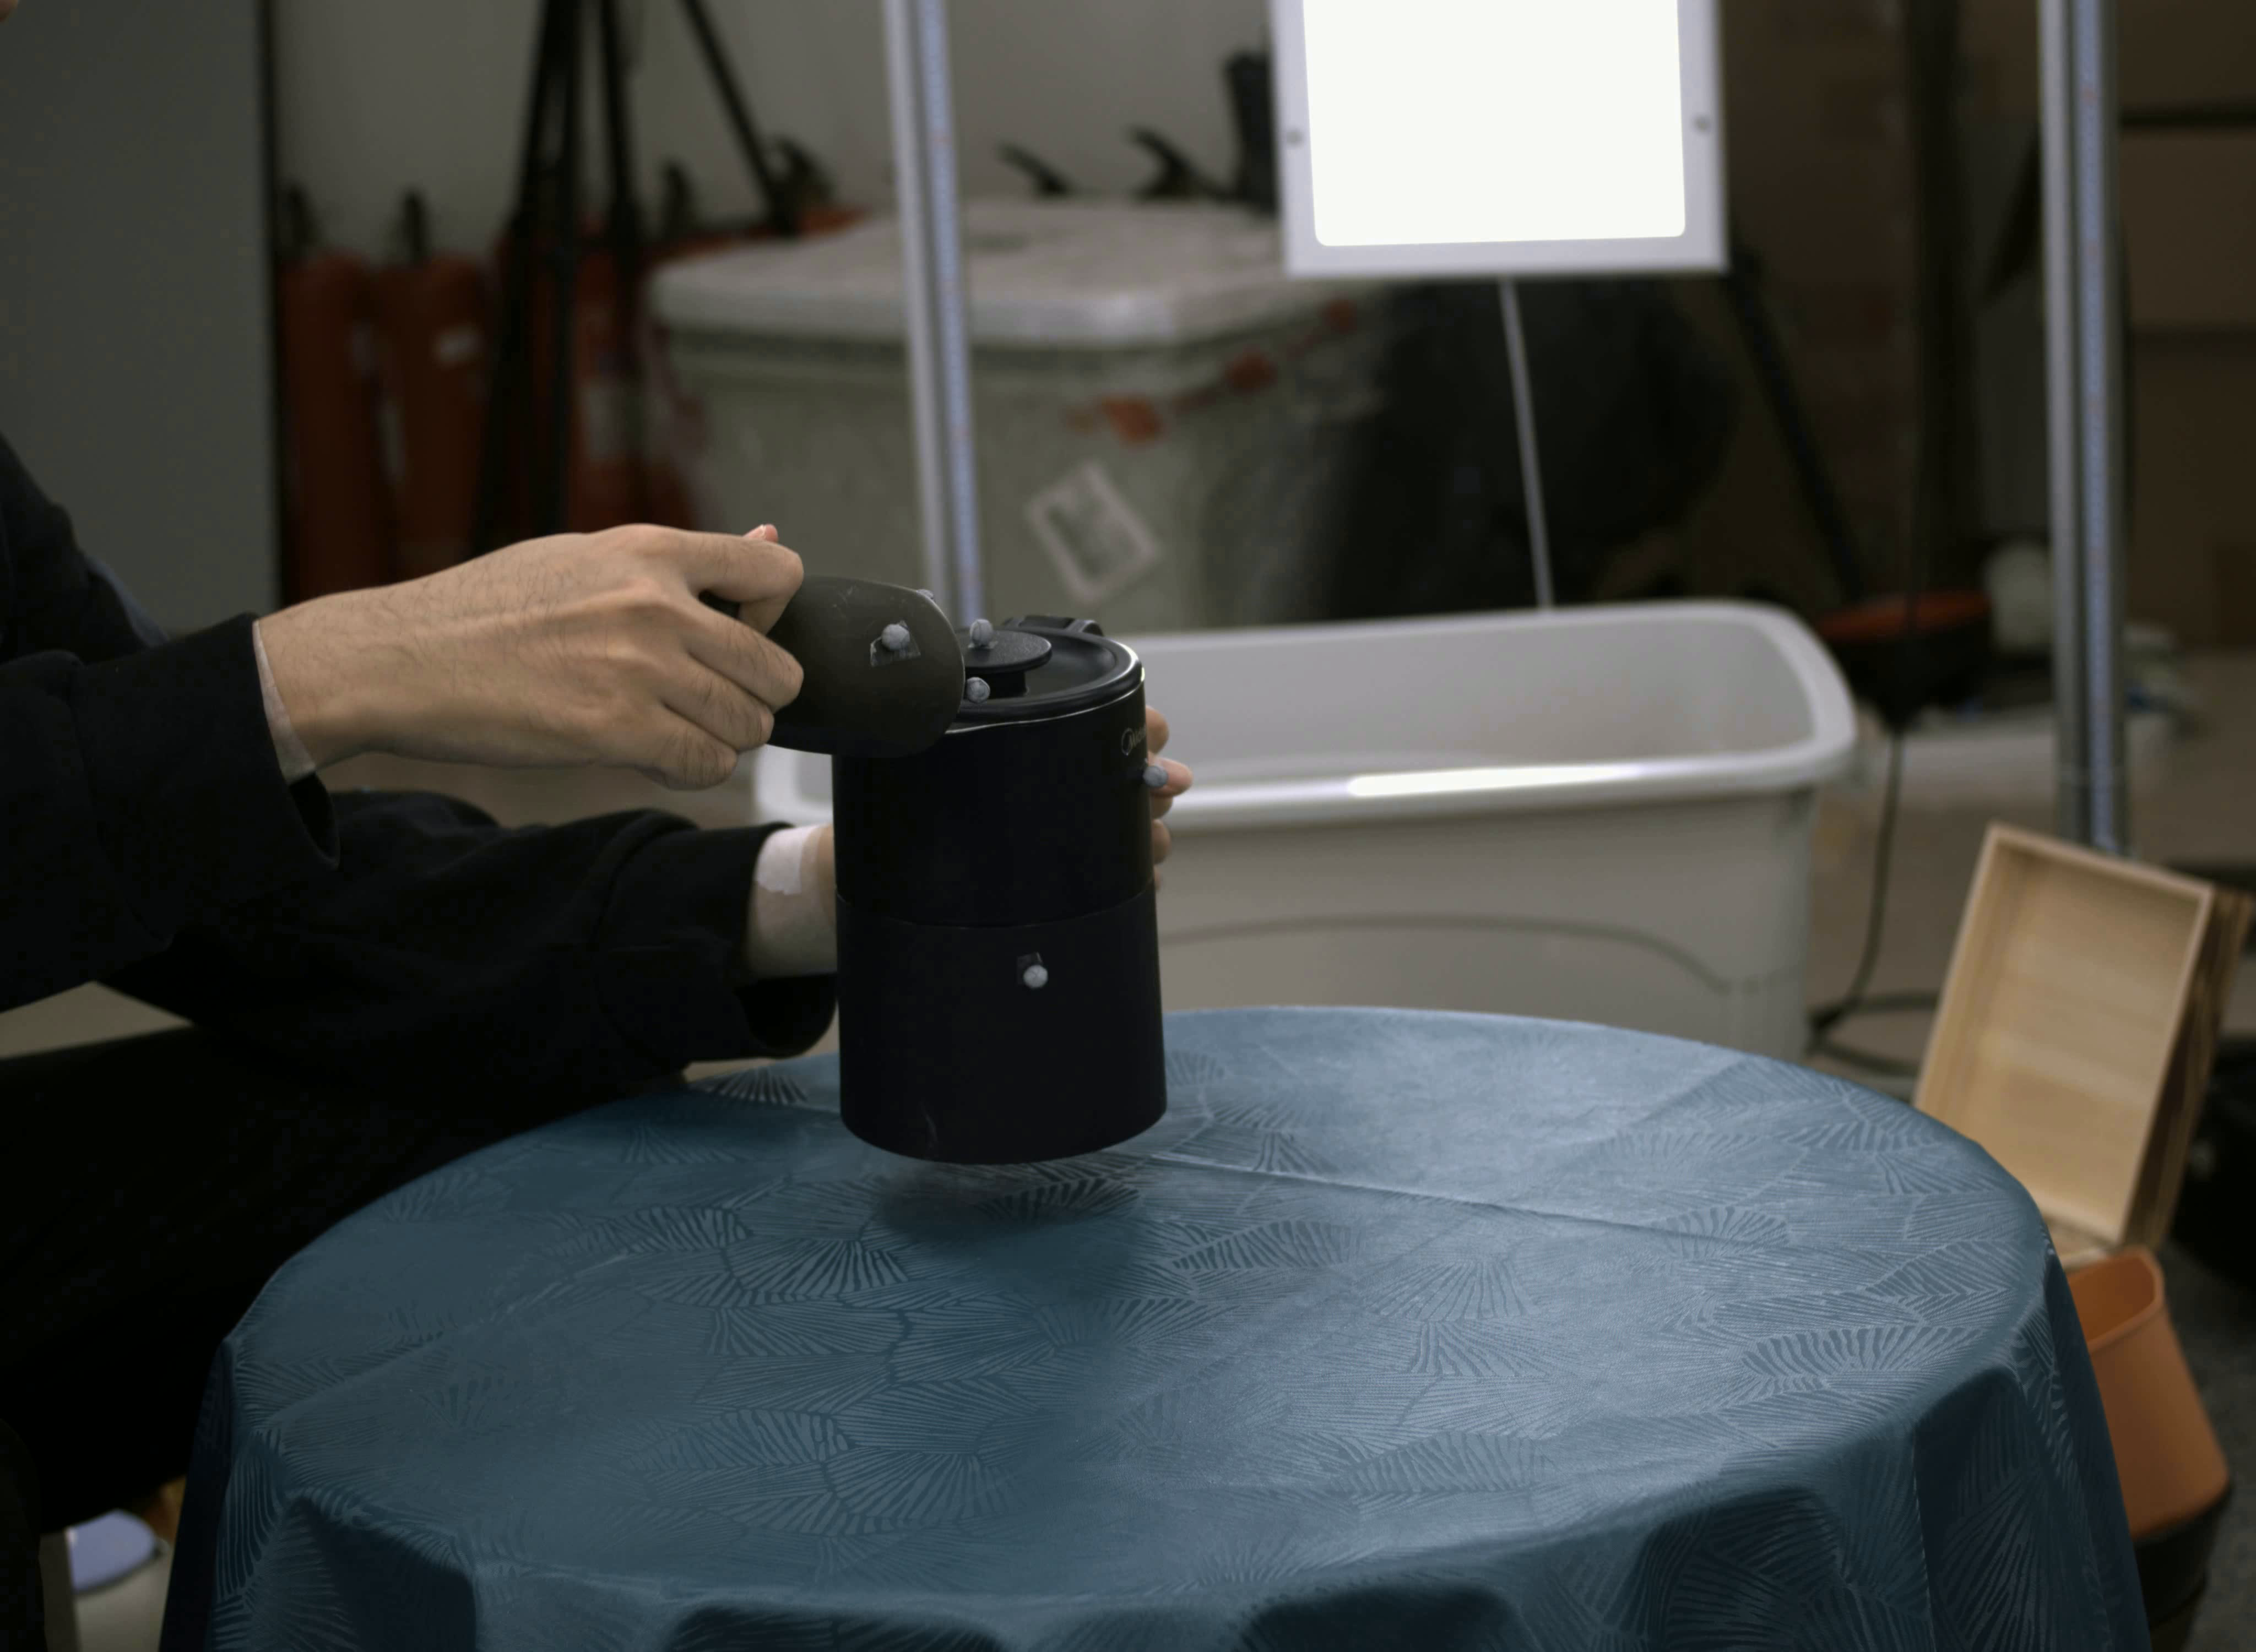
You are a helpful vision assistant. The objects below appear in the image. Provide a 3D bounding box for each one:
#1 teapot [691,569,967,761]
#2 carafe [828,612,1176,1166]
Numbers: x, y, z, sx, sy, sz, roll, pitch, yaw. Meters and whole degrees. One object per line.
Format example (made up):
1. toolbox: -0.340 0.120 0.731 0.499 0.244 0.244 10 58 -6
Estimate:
1. teapot: -0.099 -0.052 1.741 0.085 0.053 0.111 0 -12 38
2. carafe: -0.041 0.012 1.905 0.116 0.174 0.169 0 19 15
